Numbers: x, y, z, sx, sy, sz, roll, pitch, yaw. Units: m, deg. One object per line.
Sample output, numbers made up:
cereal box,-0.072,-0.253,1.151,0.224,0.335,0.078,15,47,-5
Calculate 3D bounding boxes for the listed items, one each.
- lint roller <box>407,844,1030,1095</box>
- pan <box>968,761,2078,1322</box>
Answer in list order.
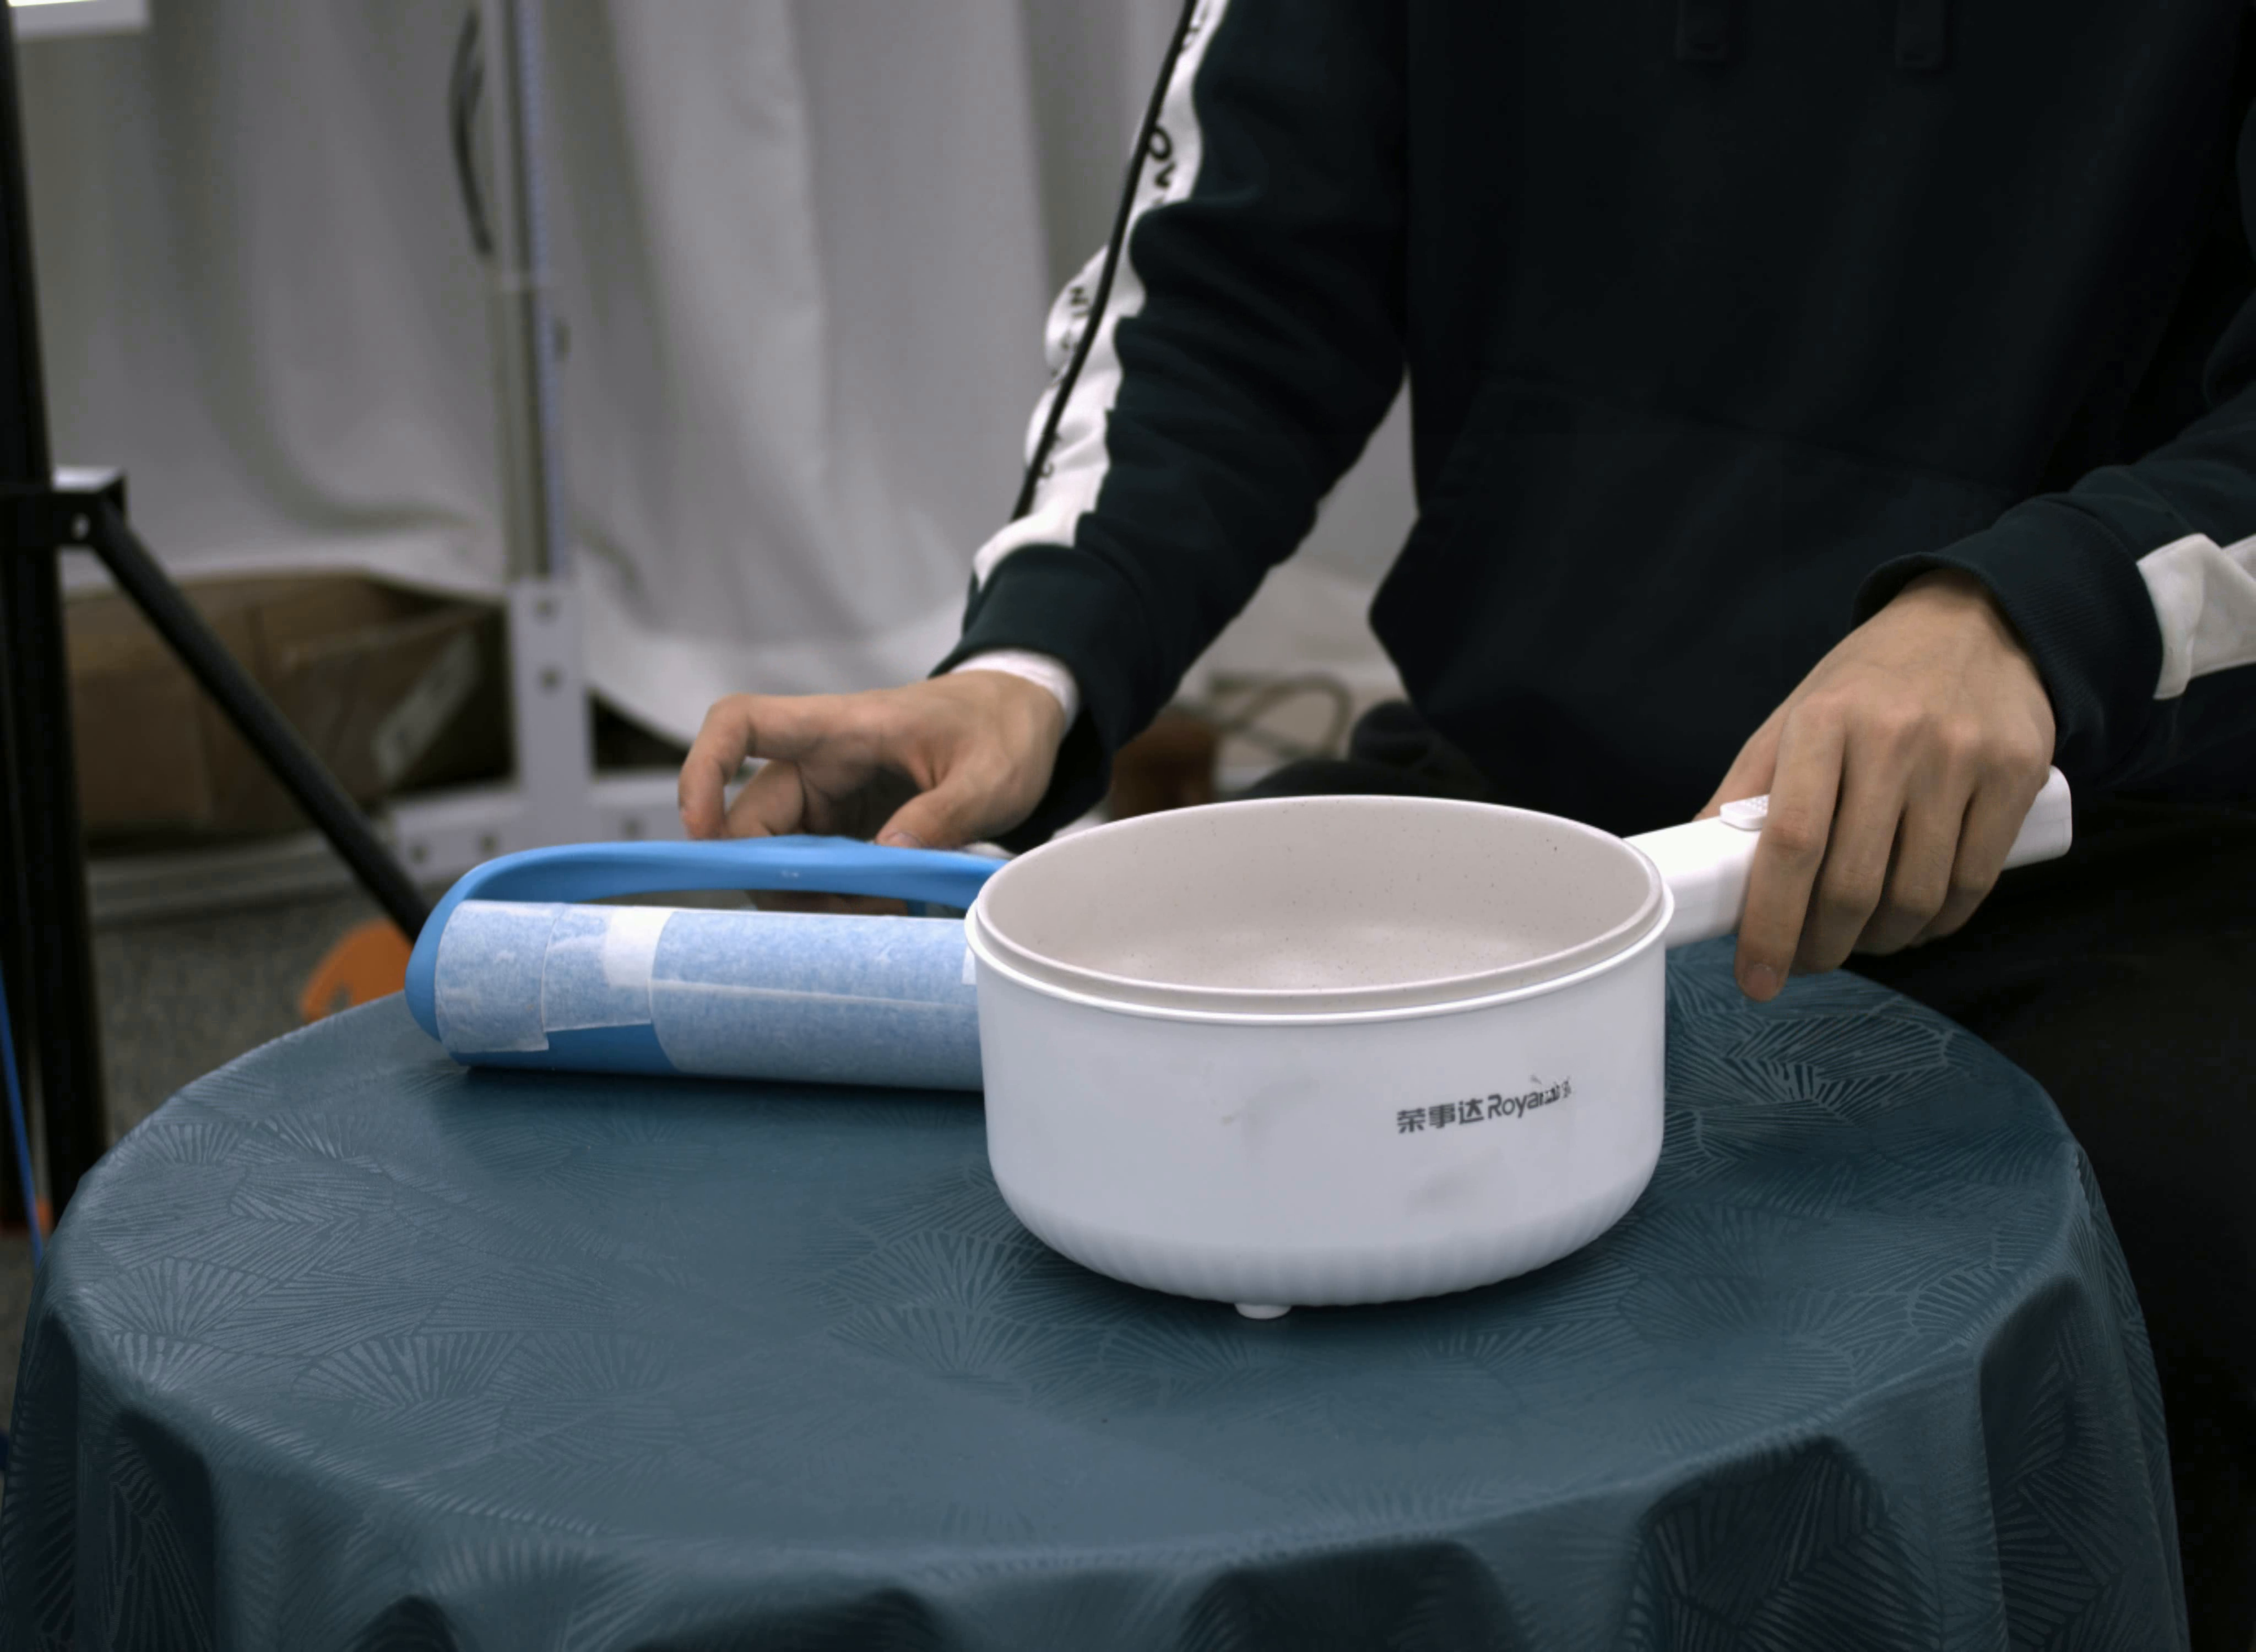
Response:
lint roller,-0.105,0.036,1.725,0.230,0.068,0.179,0,17,14
pan,0.123,0.055,1.542,0.347,0.102,0.205,-10,16,-26
